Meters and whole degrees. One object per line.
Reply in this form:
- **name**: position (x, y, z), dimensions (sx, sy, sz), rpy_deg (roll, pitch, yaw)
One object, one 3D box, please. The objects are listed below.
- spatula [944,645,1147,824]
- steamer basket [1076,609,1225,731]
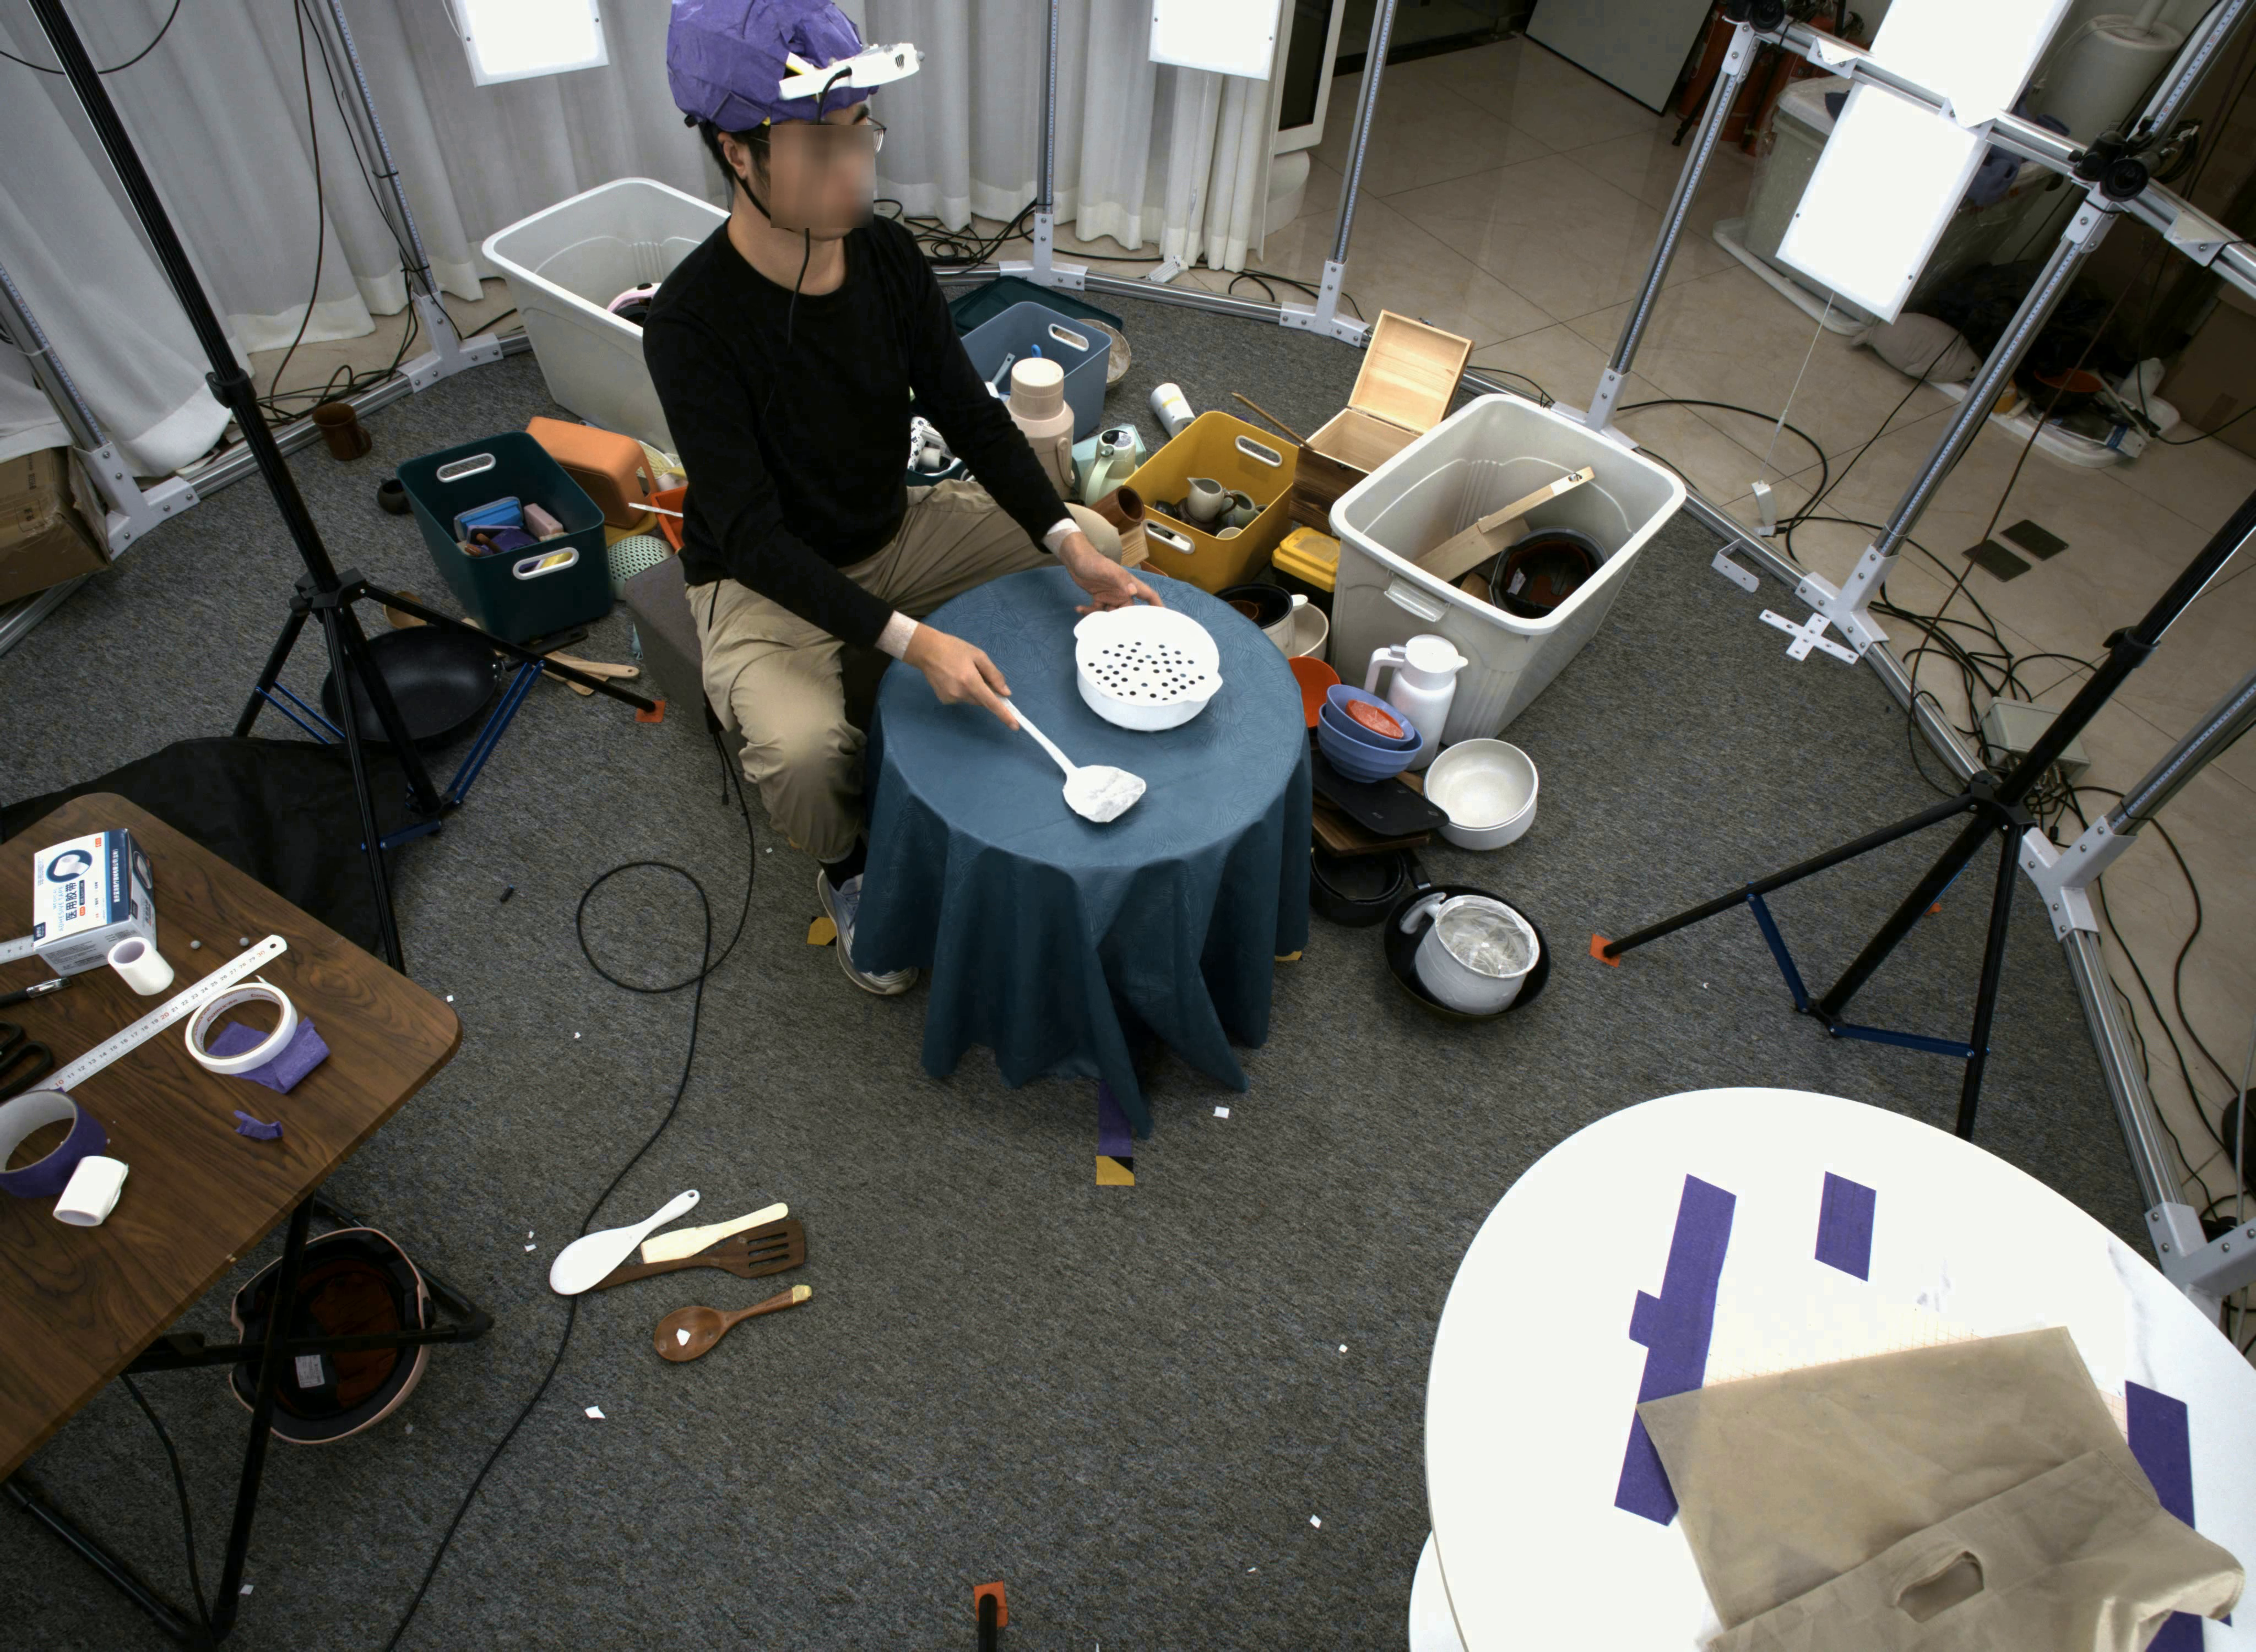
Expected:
- **spatula**: position (-0.129, -0.135, 1.727), dimensions (0.099, 0.044, 0.369), rpy_deg (-39, 73, -25)
- **steamer basket**: position (0.029, -0.221, 1.818), dimensions (0.233, 0.067, 0.204), rpy_deg (31, 53, 22)
